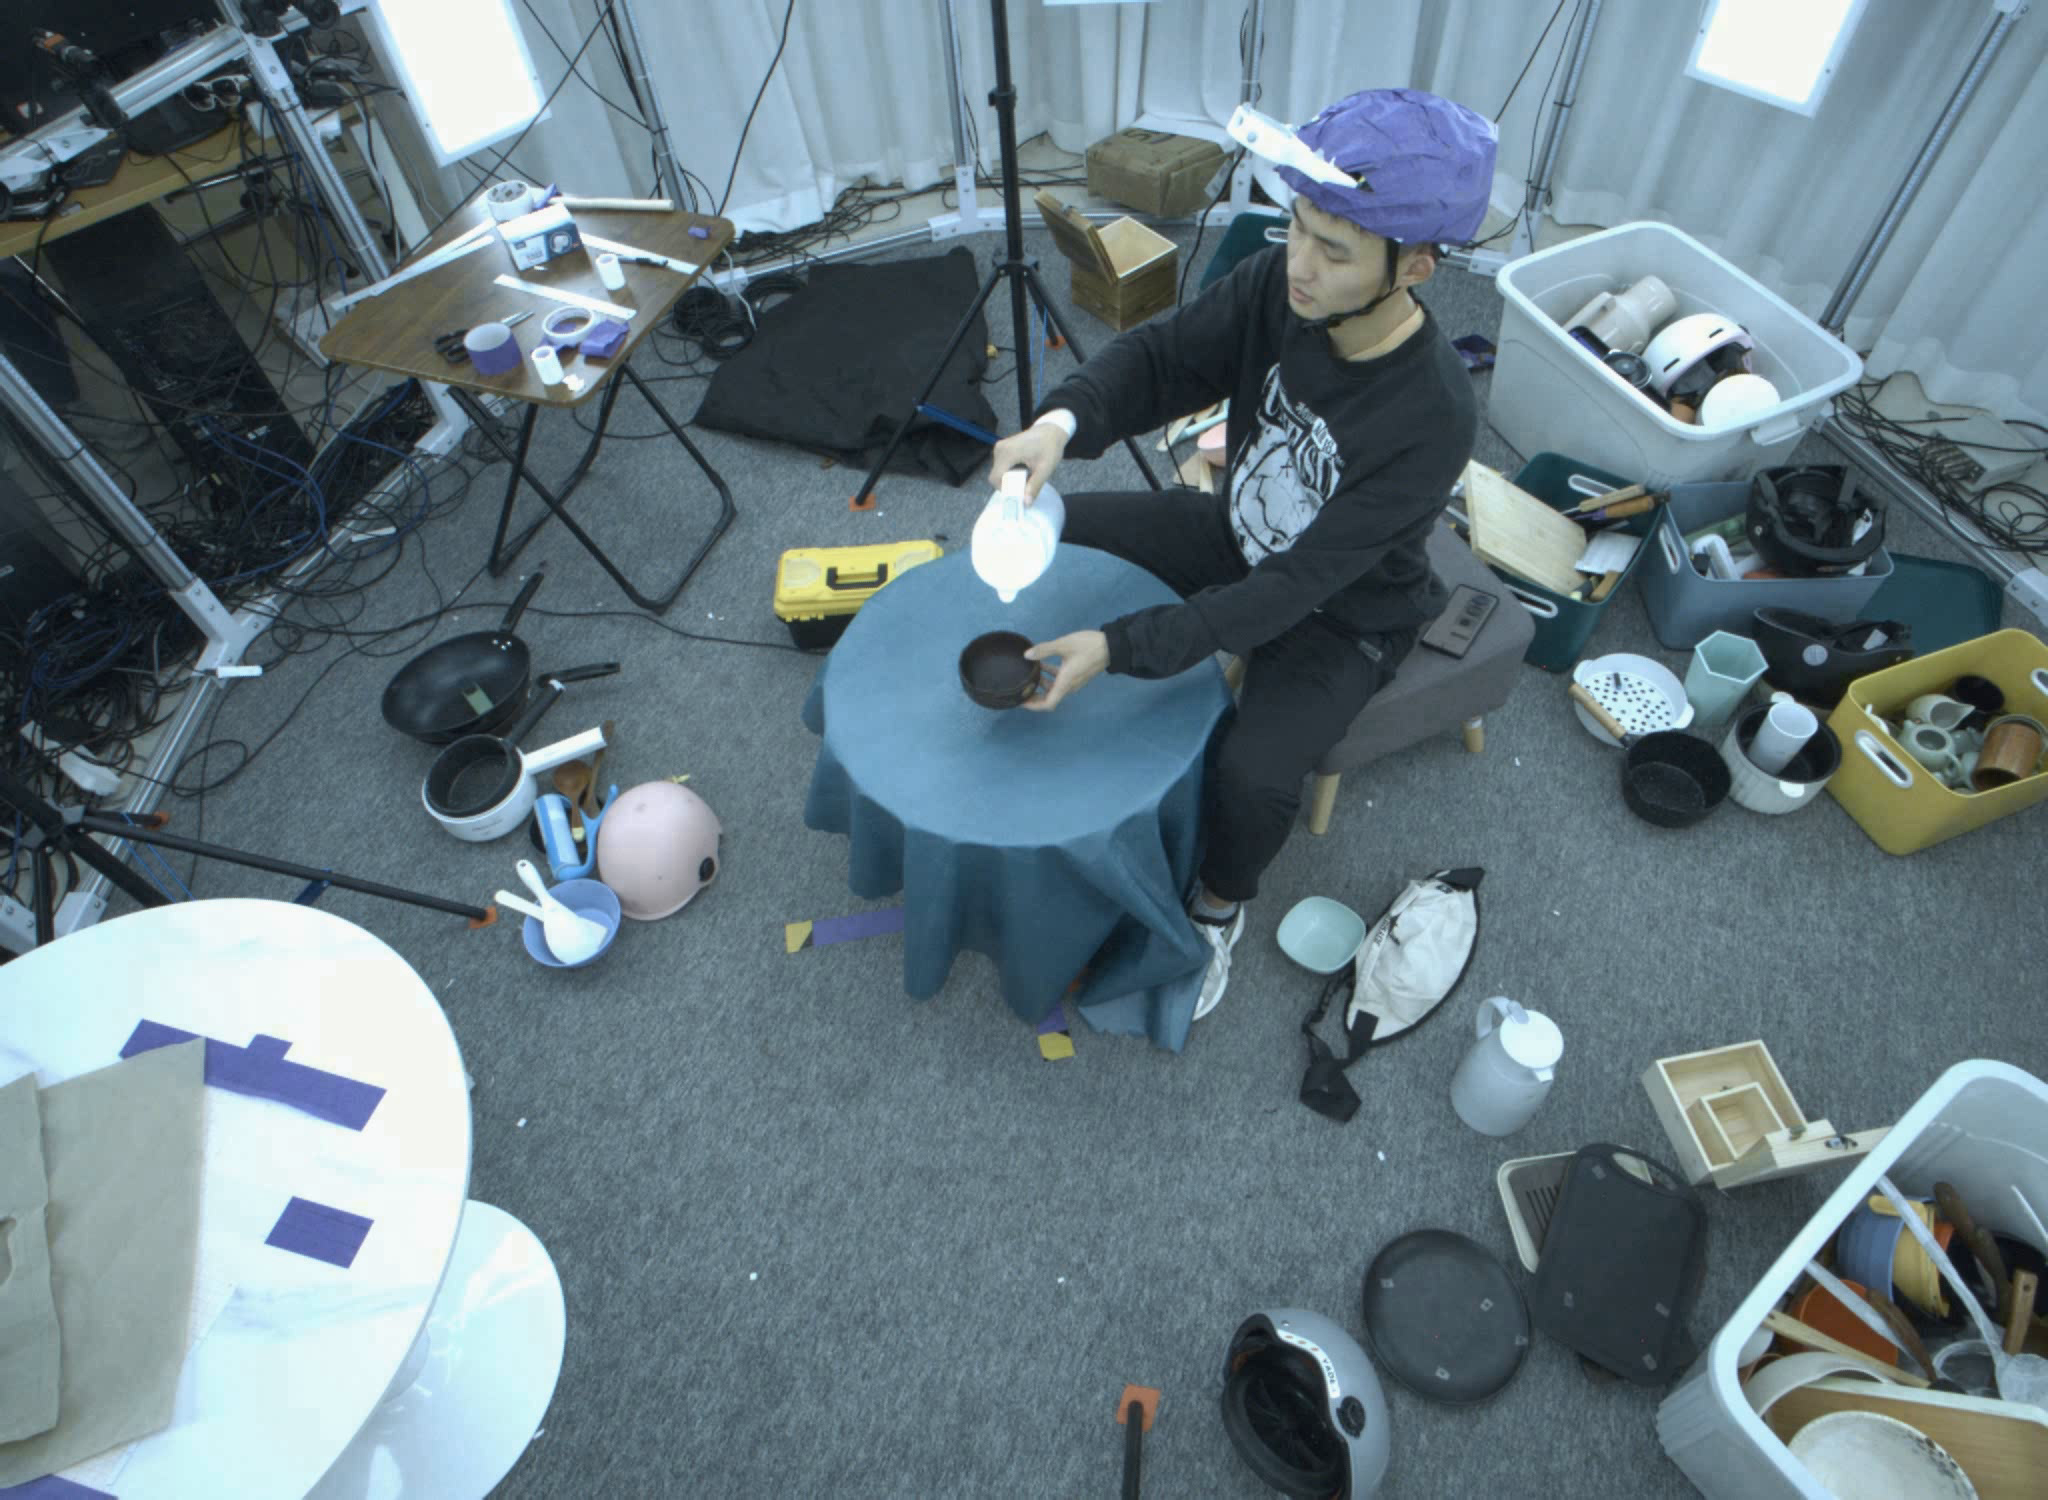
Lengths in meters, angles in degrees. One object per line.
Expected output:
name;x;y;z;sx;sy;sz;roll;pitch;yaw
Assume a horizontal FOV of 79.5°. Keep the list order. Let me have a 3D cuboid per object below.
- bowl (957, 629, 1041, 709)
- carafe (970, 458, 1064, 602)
bowl;-0.033;-0.107;1.743;0.118;0.071;0.117;-2;54;4
carafe;-0.010;-0.324;1.726;0.123;0.174;0.268;5;23;6
